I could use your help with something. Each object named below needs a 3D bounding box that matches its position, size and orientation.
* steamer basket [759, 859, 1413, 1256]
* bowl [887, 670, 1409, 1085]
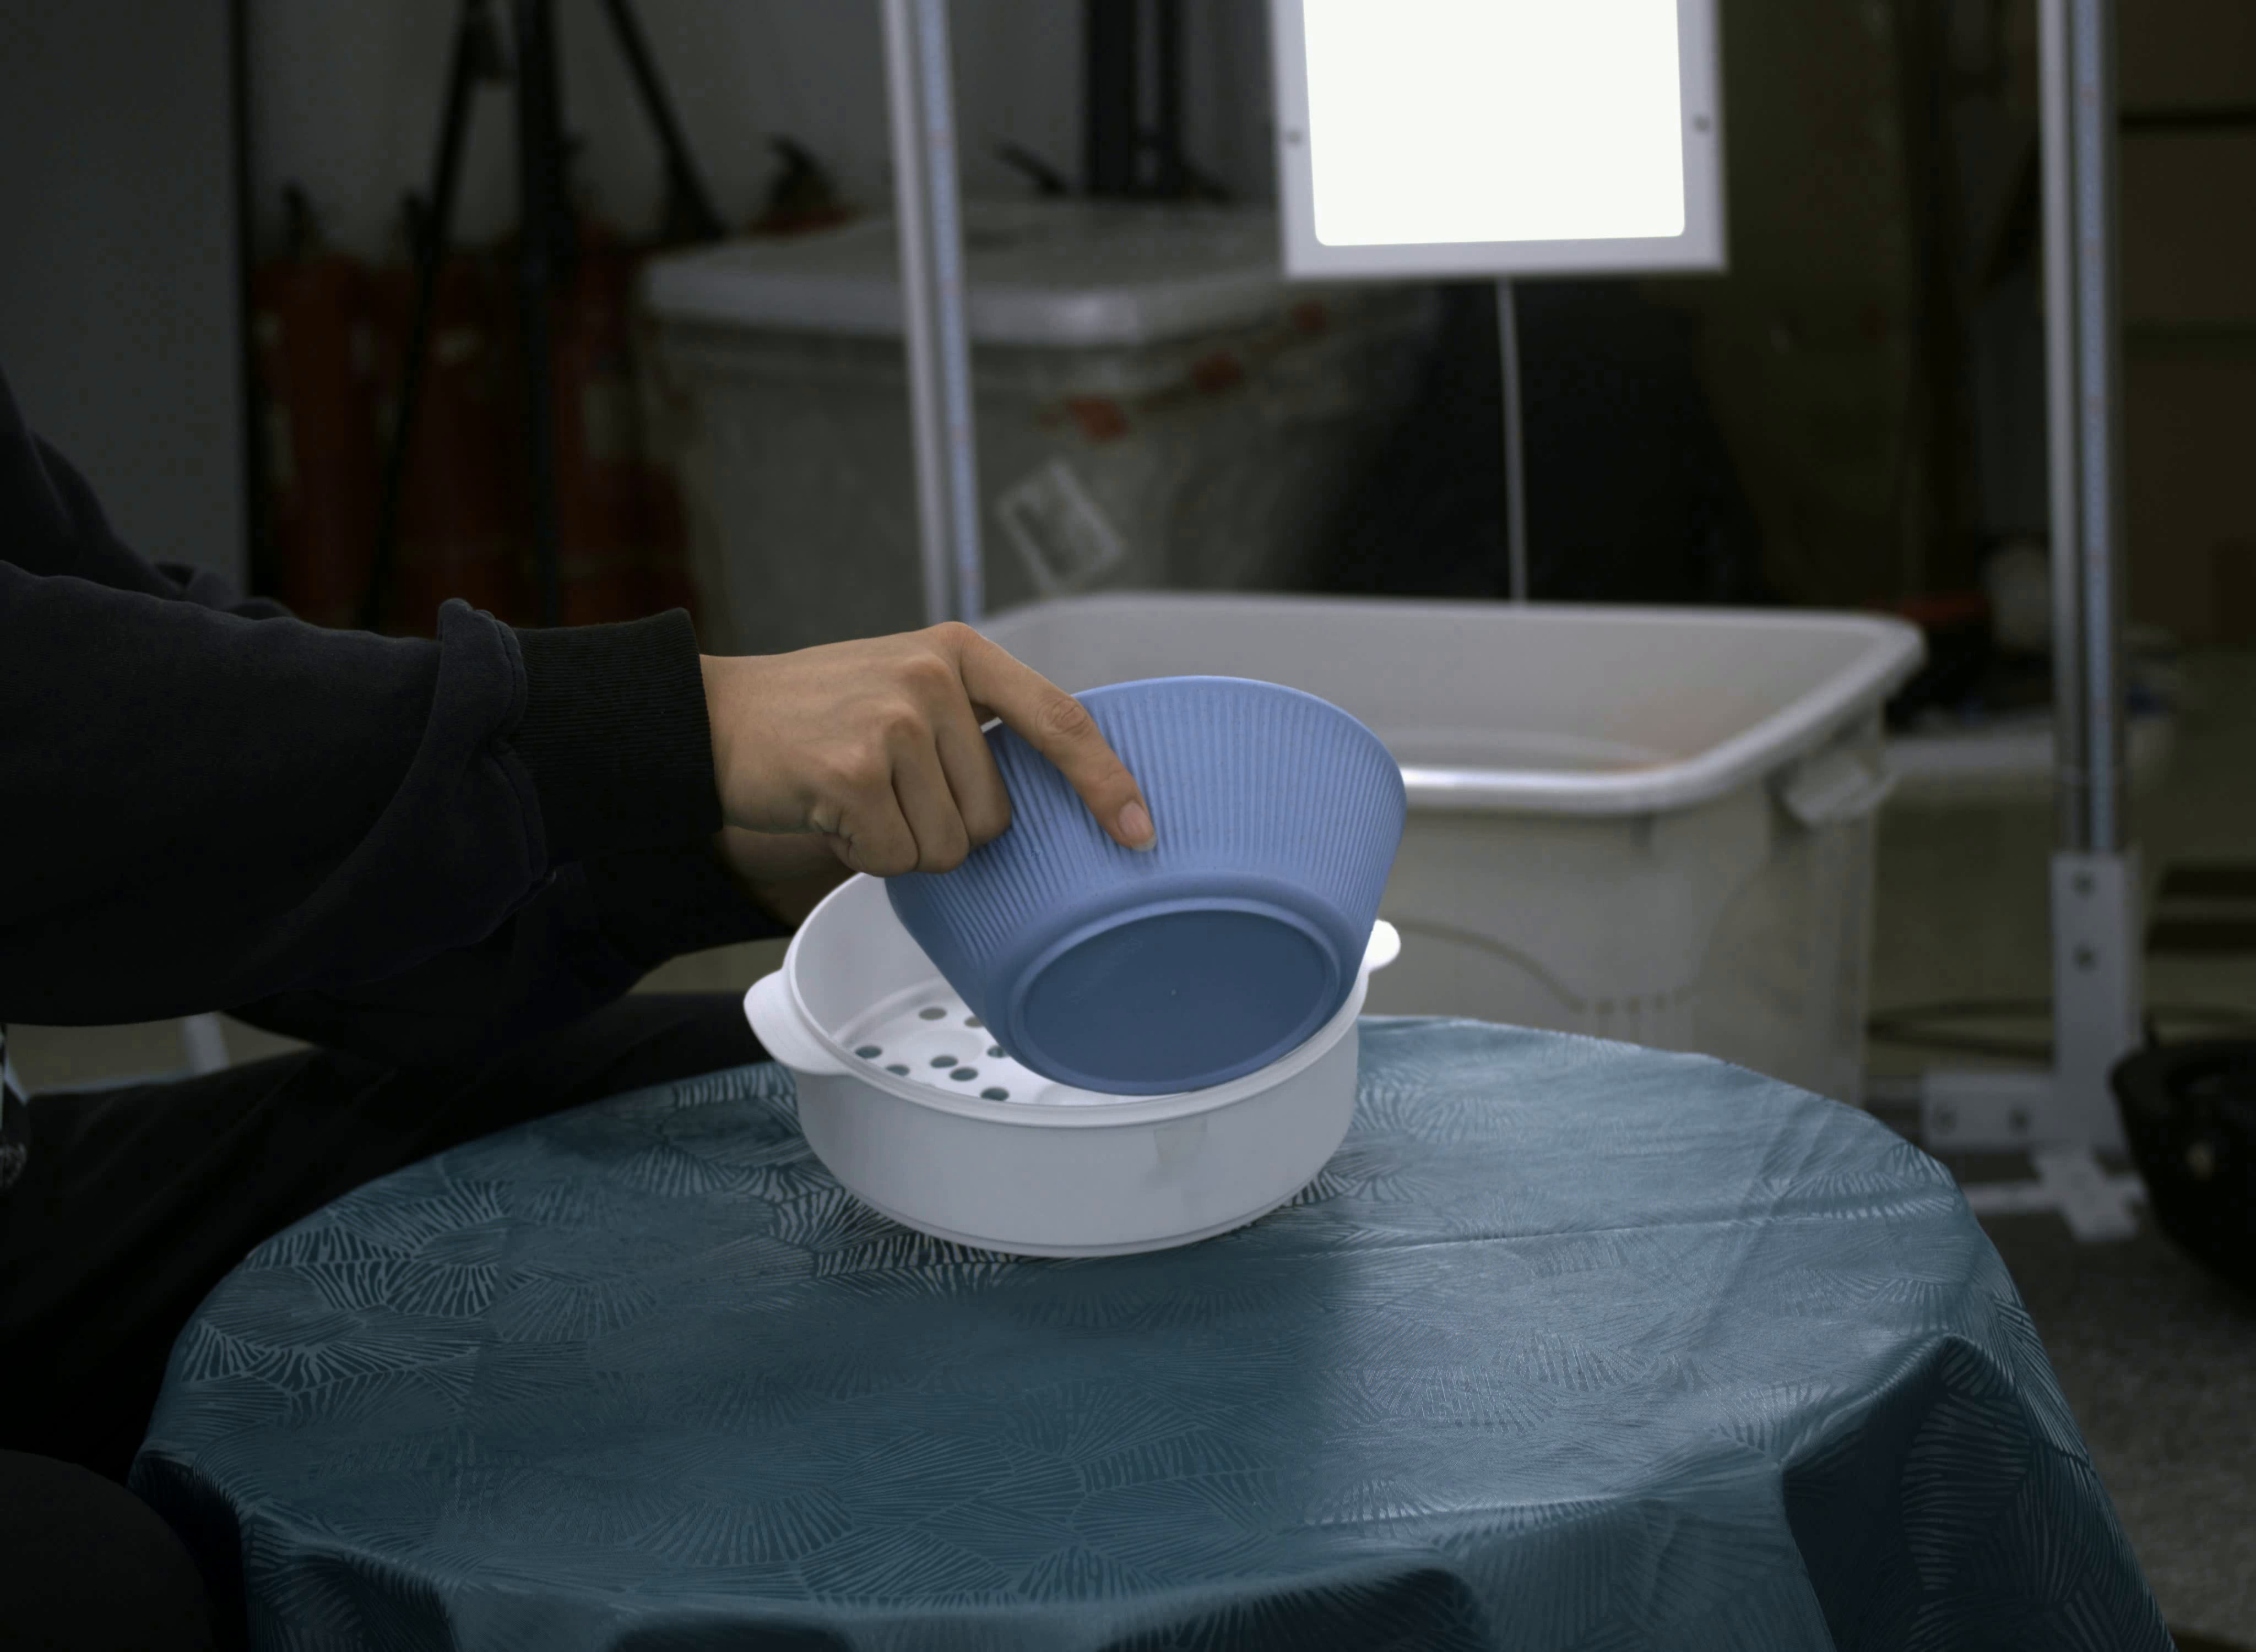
[{"bbox_3d":[-0.013,0.073,1.899,0.227,0.069,0.204,-10,29,-17],"label":"steamer basket"},{"bbox_3d":[0.012,0.028,1.798,0.175,0.177,0.070,-5,54,-6],"label":"bowl"}]
